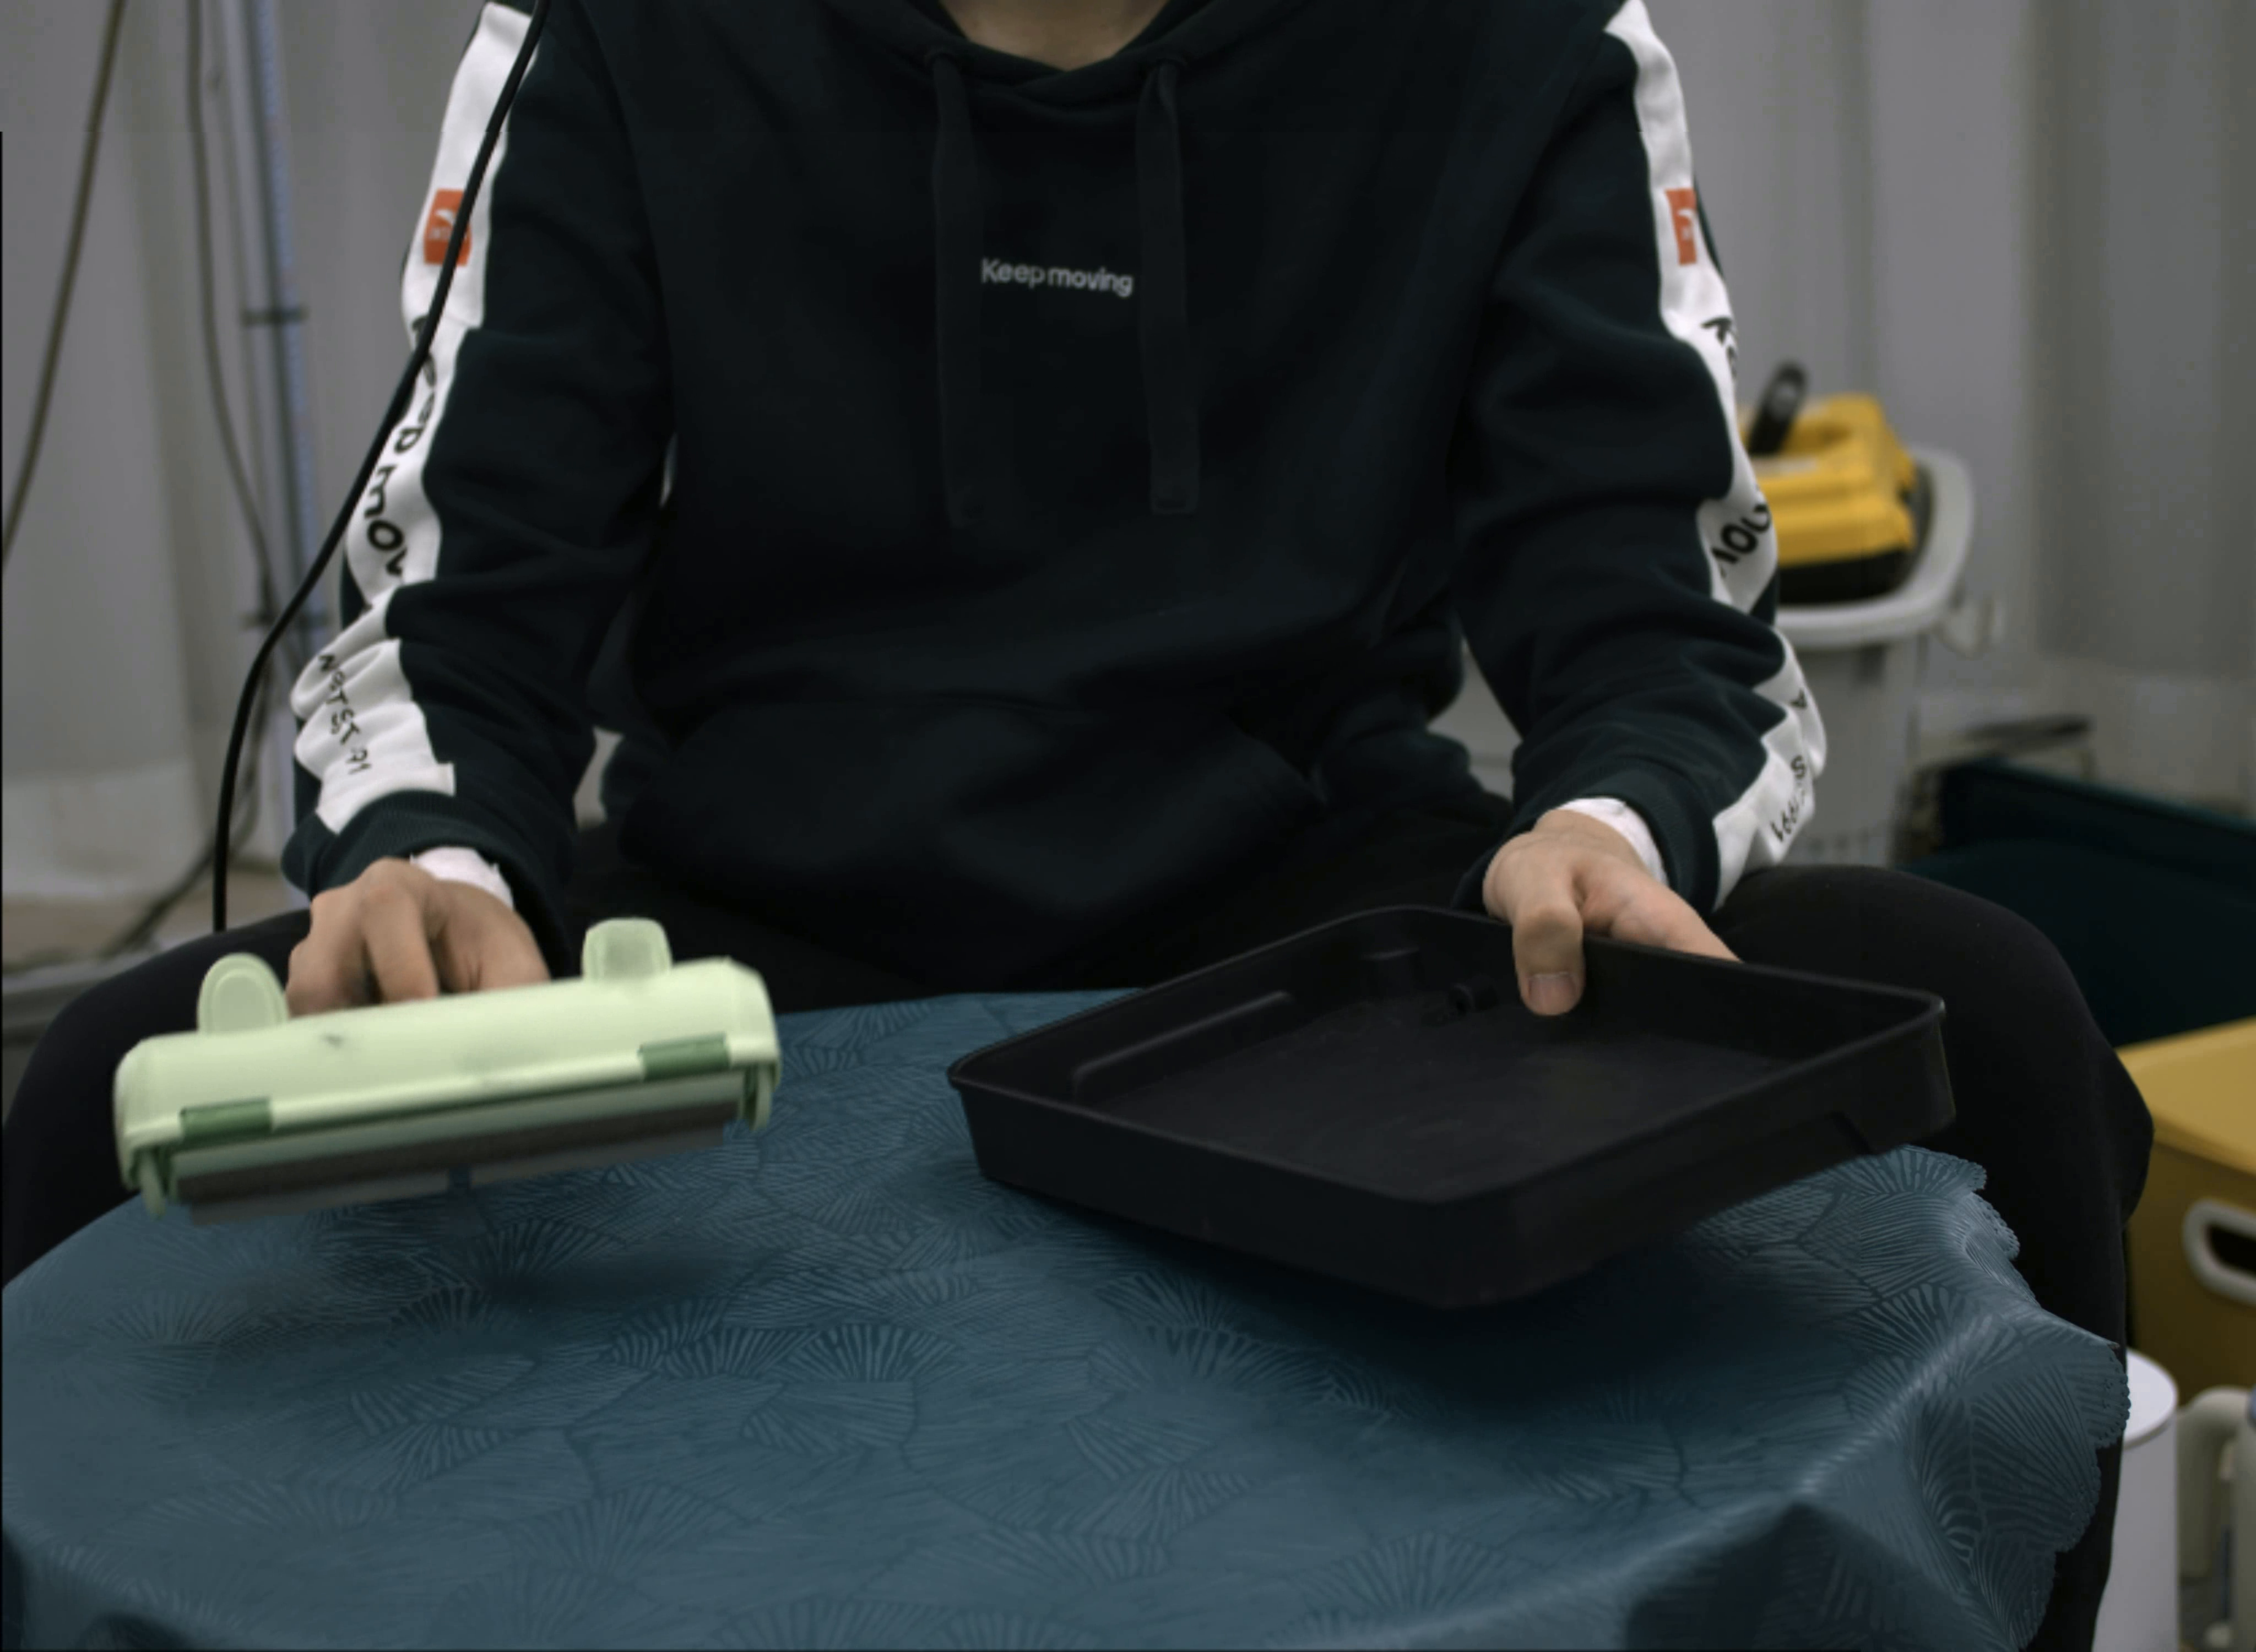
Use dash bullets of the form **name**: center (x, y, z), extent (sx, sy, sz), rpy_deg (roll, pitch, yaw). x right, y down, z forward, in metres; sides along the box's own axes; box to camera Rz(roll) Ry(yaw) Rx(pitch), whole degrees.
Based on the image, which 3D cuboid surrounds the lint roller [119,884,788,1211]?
- **lint roller**: center (-0.215, 0.054, 1.689), extent (0.198, 0.082, 0.185), rpy_deg (-9, 17, -12)

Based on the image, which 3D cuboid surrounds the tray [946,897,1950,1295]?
- **tray**: center (0.090, 0.077, 1.648), extent (0.184, 0.037, 0.319), rpy_deg (-18, 12, -25)
